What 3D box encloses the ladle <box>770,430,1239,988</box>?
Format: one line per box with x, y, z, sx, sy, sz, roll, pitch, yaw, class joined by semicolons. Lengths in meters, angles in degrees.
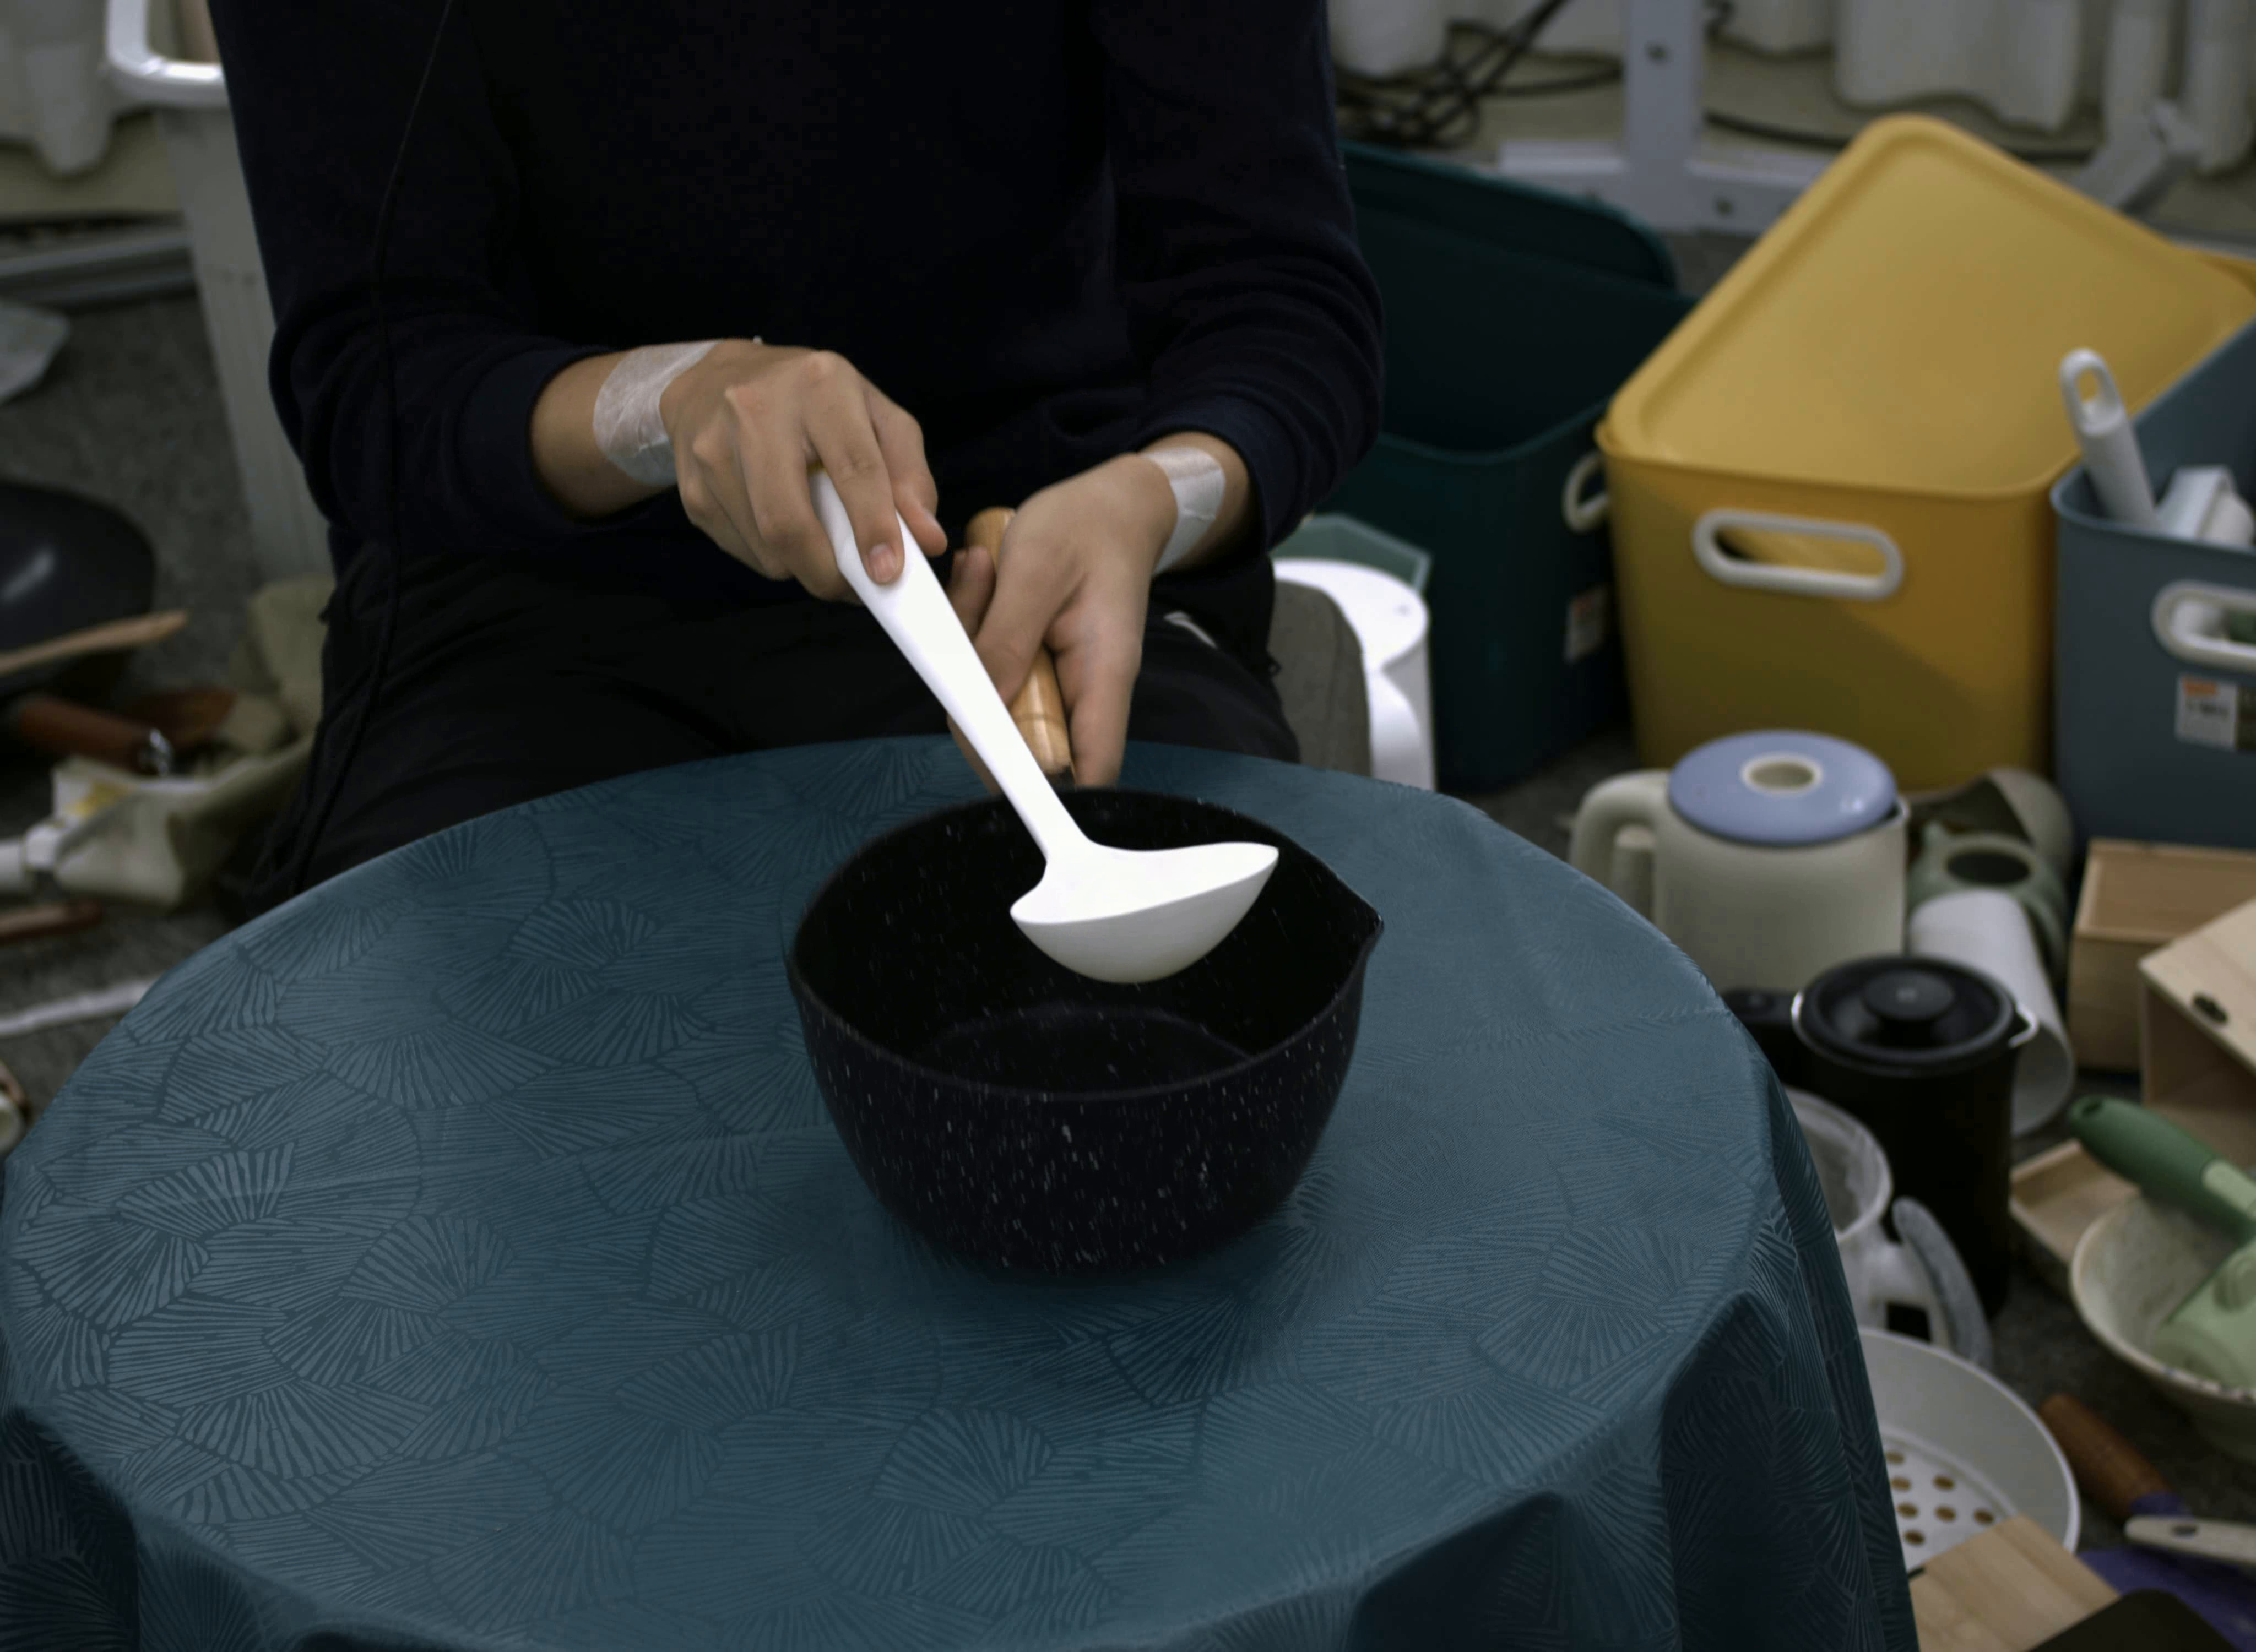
-0.054;-0.048;1.903;0.090;0.069;0.296;-21;48;-14;ladle

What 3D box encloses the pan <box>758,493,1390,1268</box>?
-0.028;0.016;1.913;0.207;0.107;0.348;-4;33;-7;pan
